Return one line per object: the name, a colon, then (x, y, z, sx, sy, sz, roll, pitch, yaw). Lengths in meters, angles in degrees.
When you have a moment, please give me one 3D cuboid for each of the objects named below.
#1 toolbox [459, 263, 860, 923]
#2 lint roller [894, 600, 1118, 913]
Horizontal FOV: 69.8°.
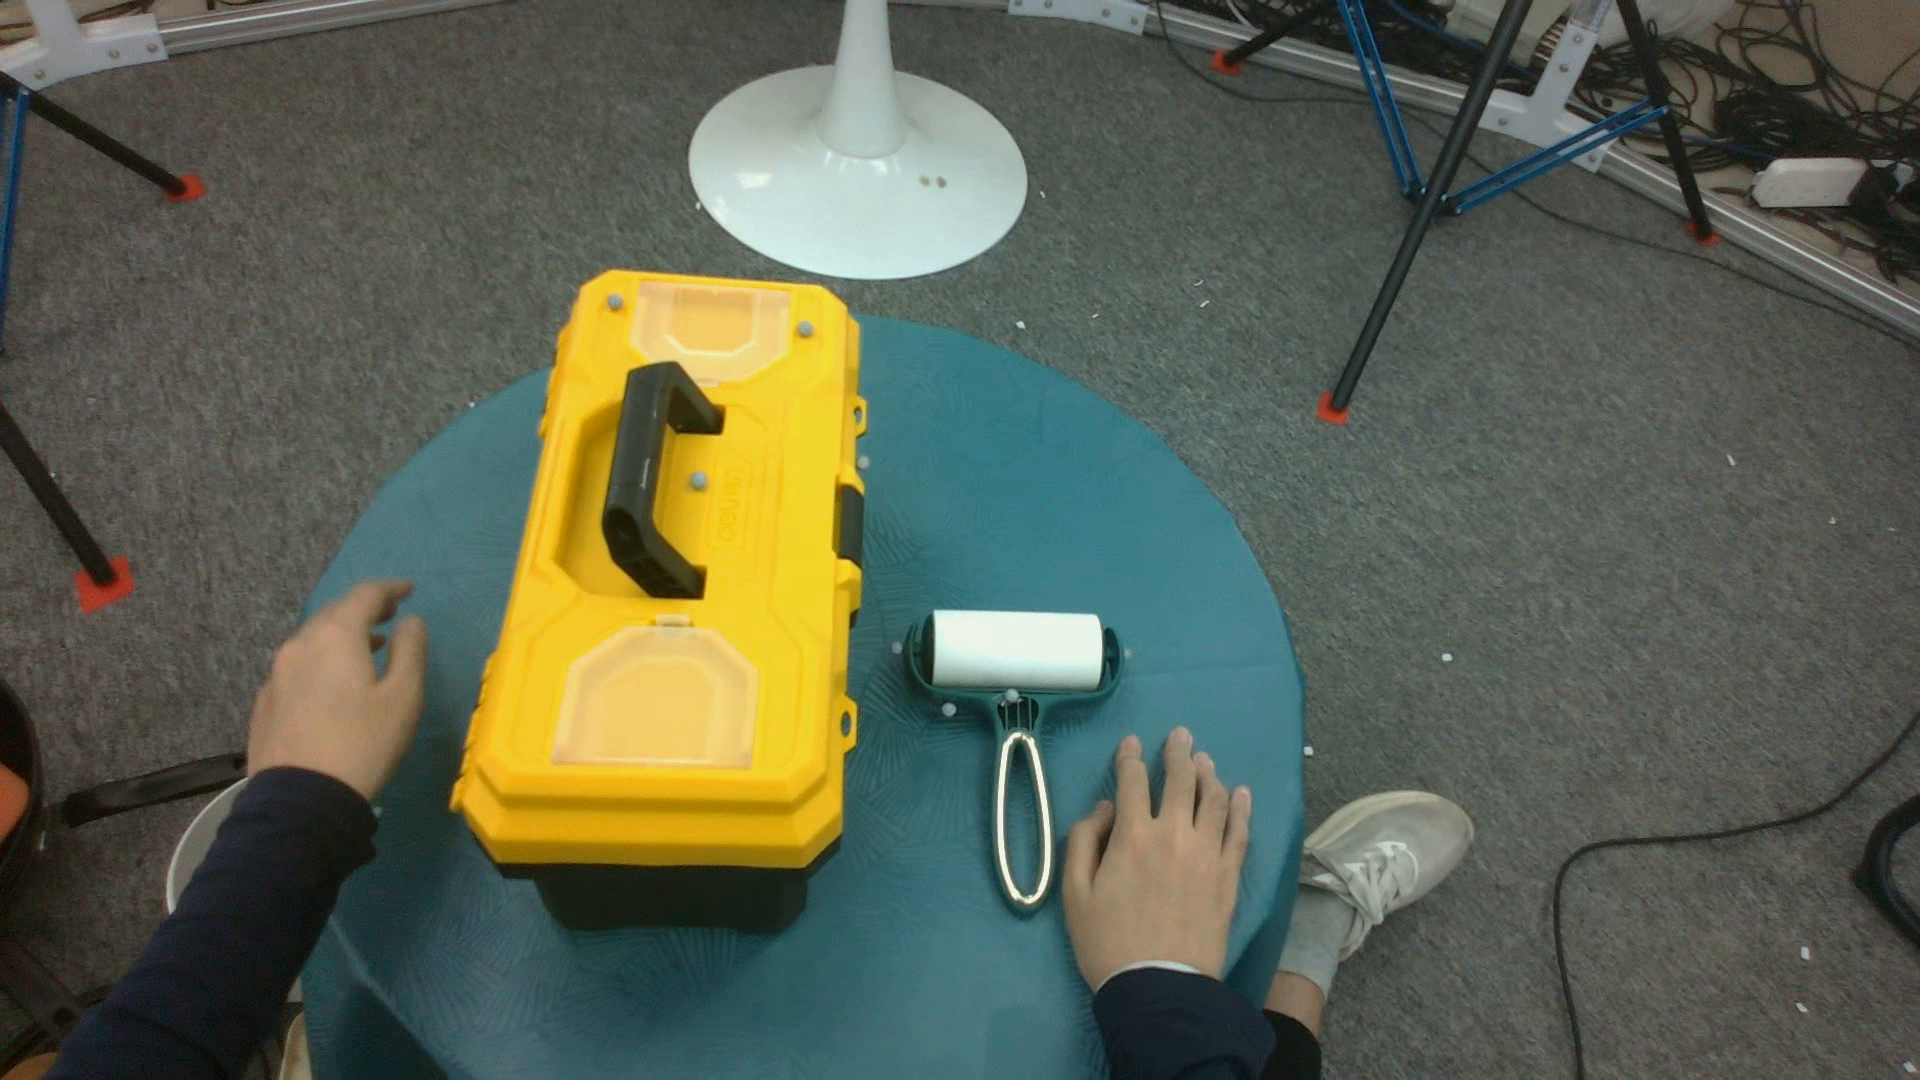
toolbox: (-0.146, 0.024, 0.745, 0.181, 0.172, 0.353, 2, 52, -6)
lint roller: (0.029, 0.117, 0.783, 0.134, 0.048, 0.181, 3, 56, -8)
